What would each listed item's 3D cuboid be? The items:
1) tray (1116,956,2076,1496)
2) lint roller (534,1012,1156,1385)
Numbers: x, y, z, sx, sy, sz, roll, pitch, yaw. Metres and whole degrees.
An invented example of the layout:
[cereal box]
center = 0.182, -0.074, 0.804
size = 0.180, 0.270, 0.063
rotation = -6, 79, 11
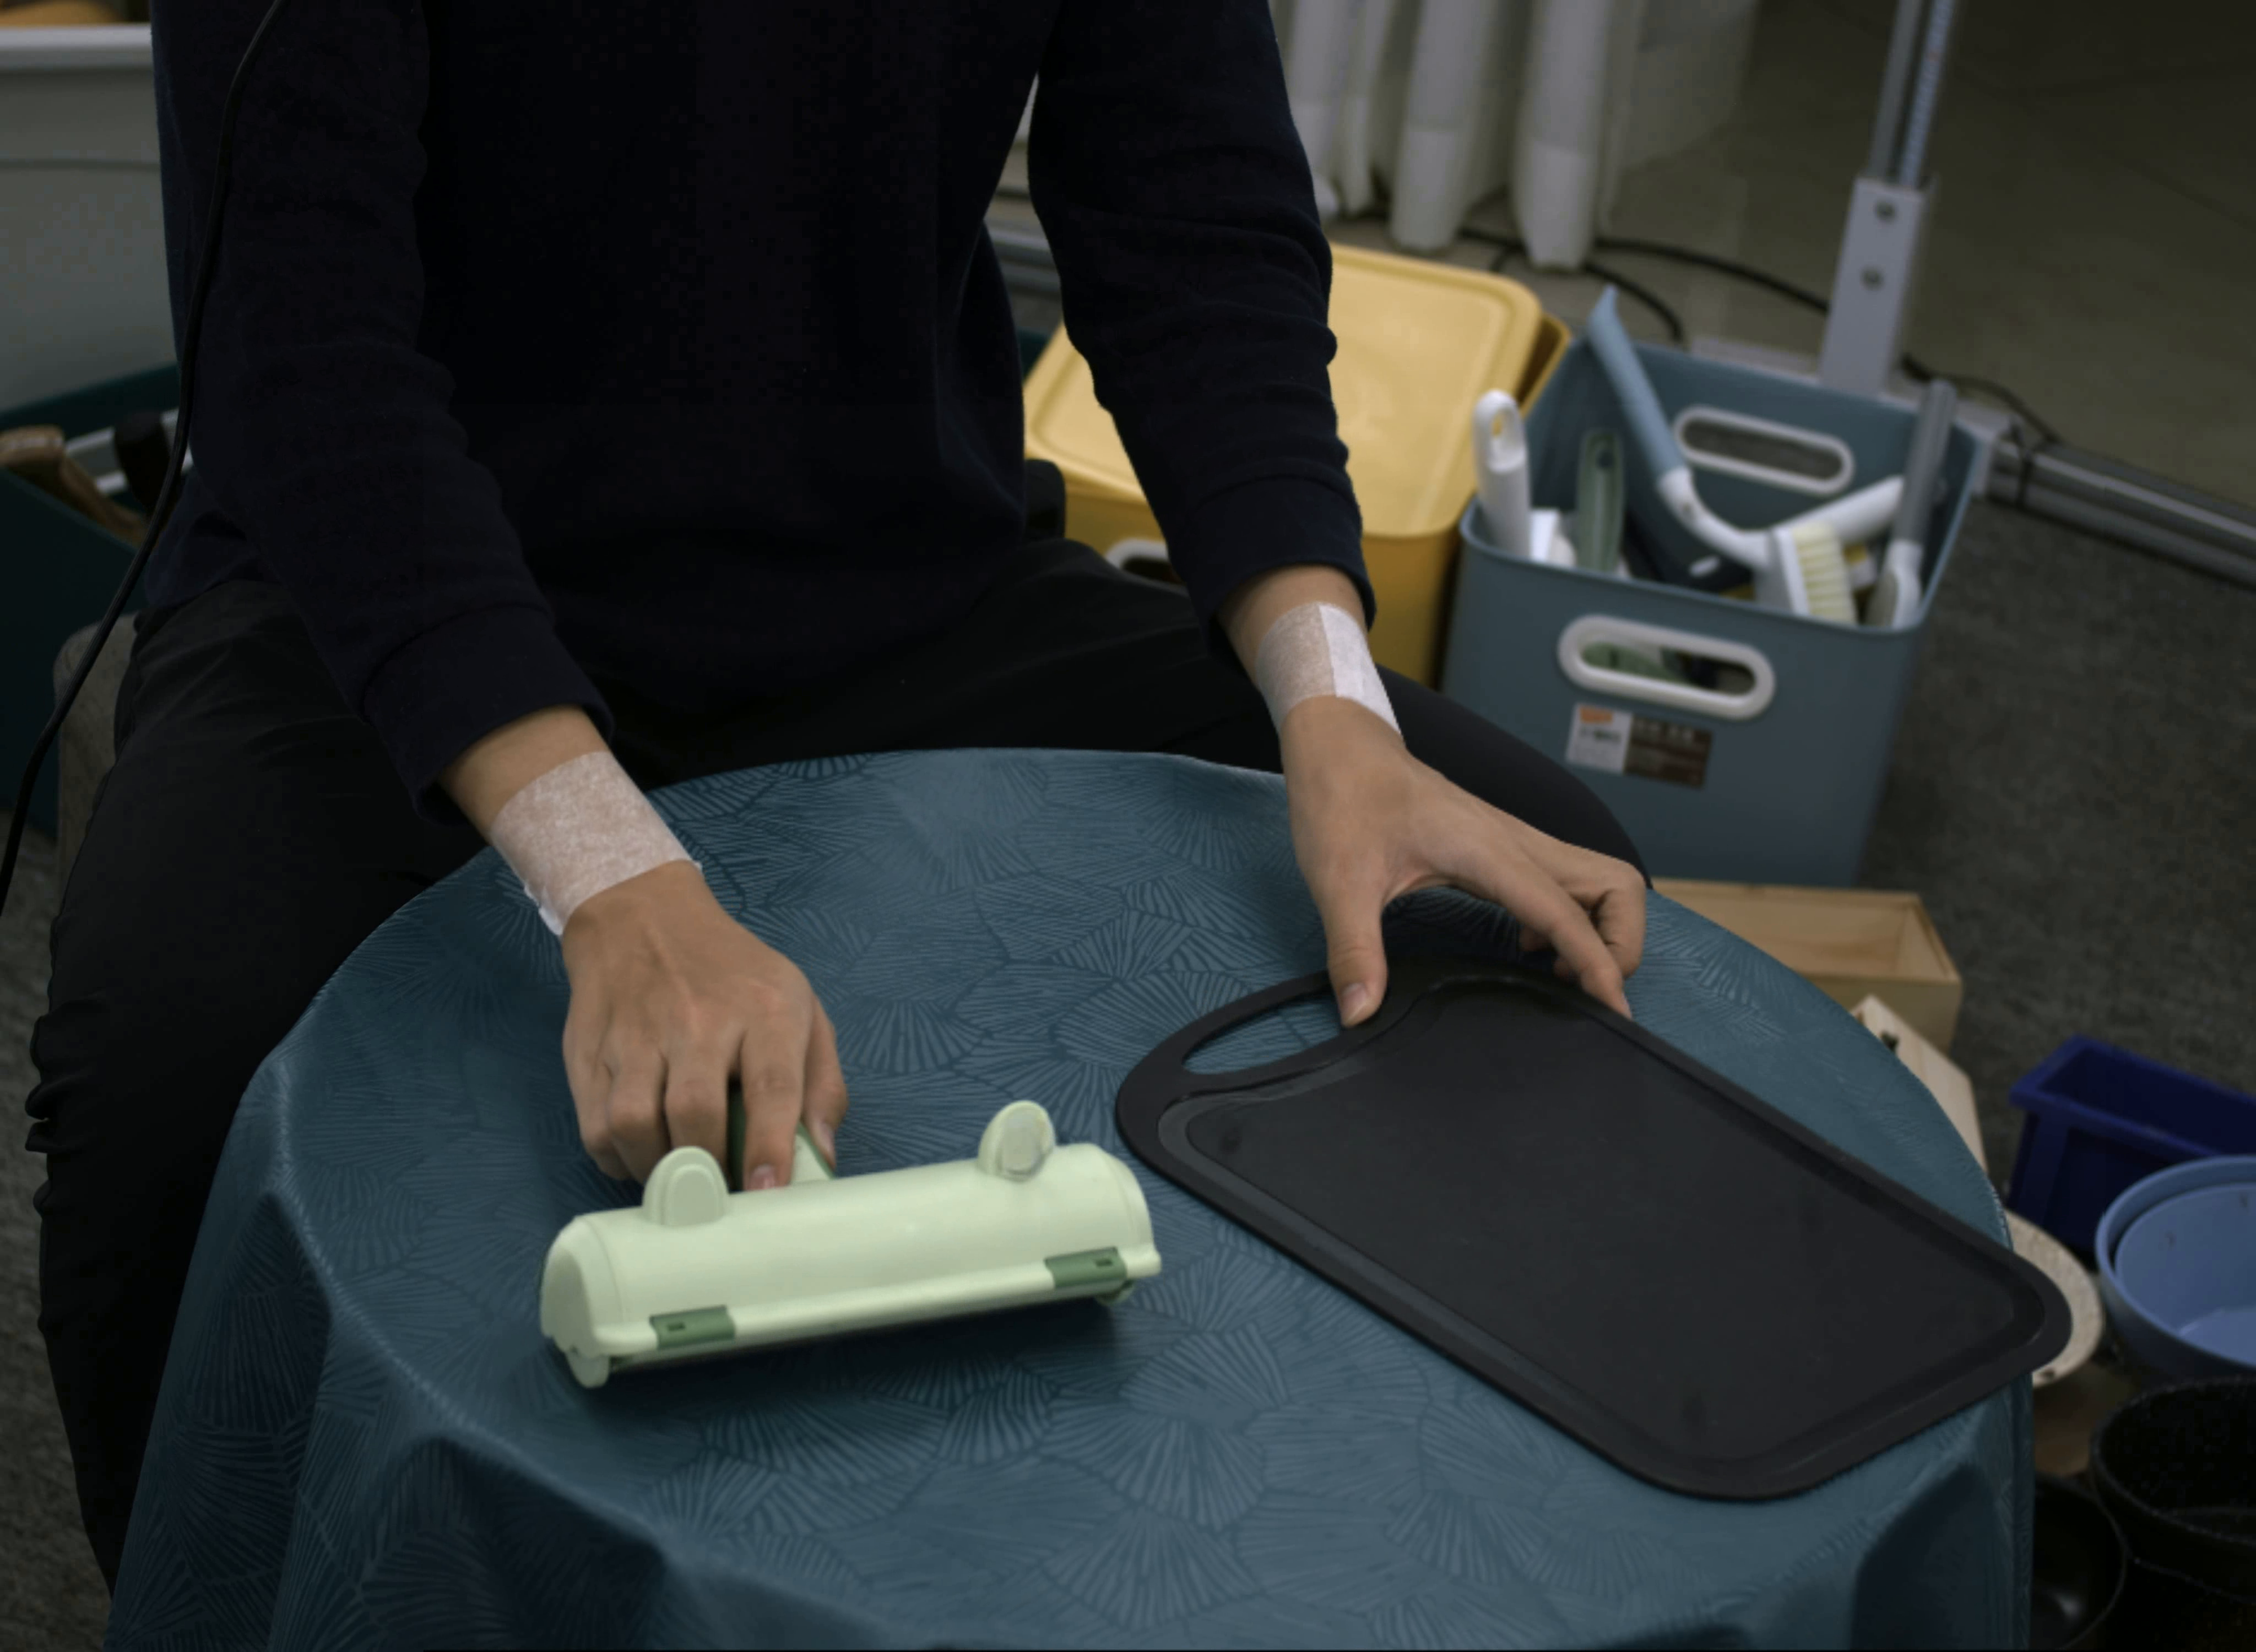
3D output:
[tray]
center = 0.150, 0.126, 1.819
size = 0.210, 0.010, 0.328
rotation = -20, 37, -39
[lint roller]
center = -0.111, 0.099, 1.726
size = 0.197, 0.082, 0.185
rotation = -6, 40, -26
